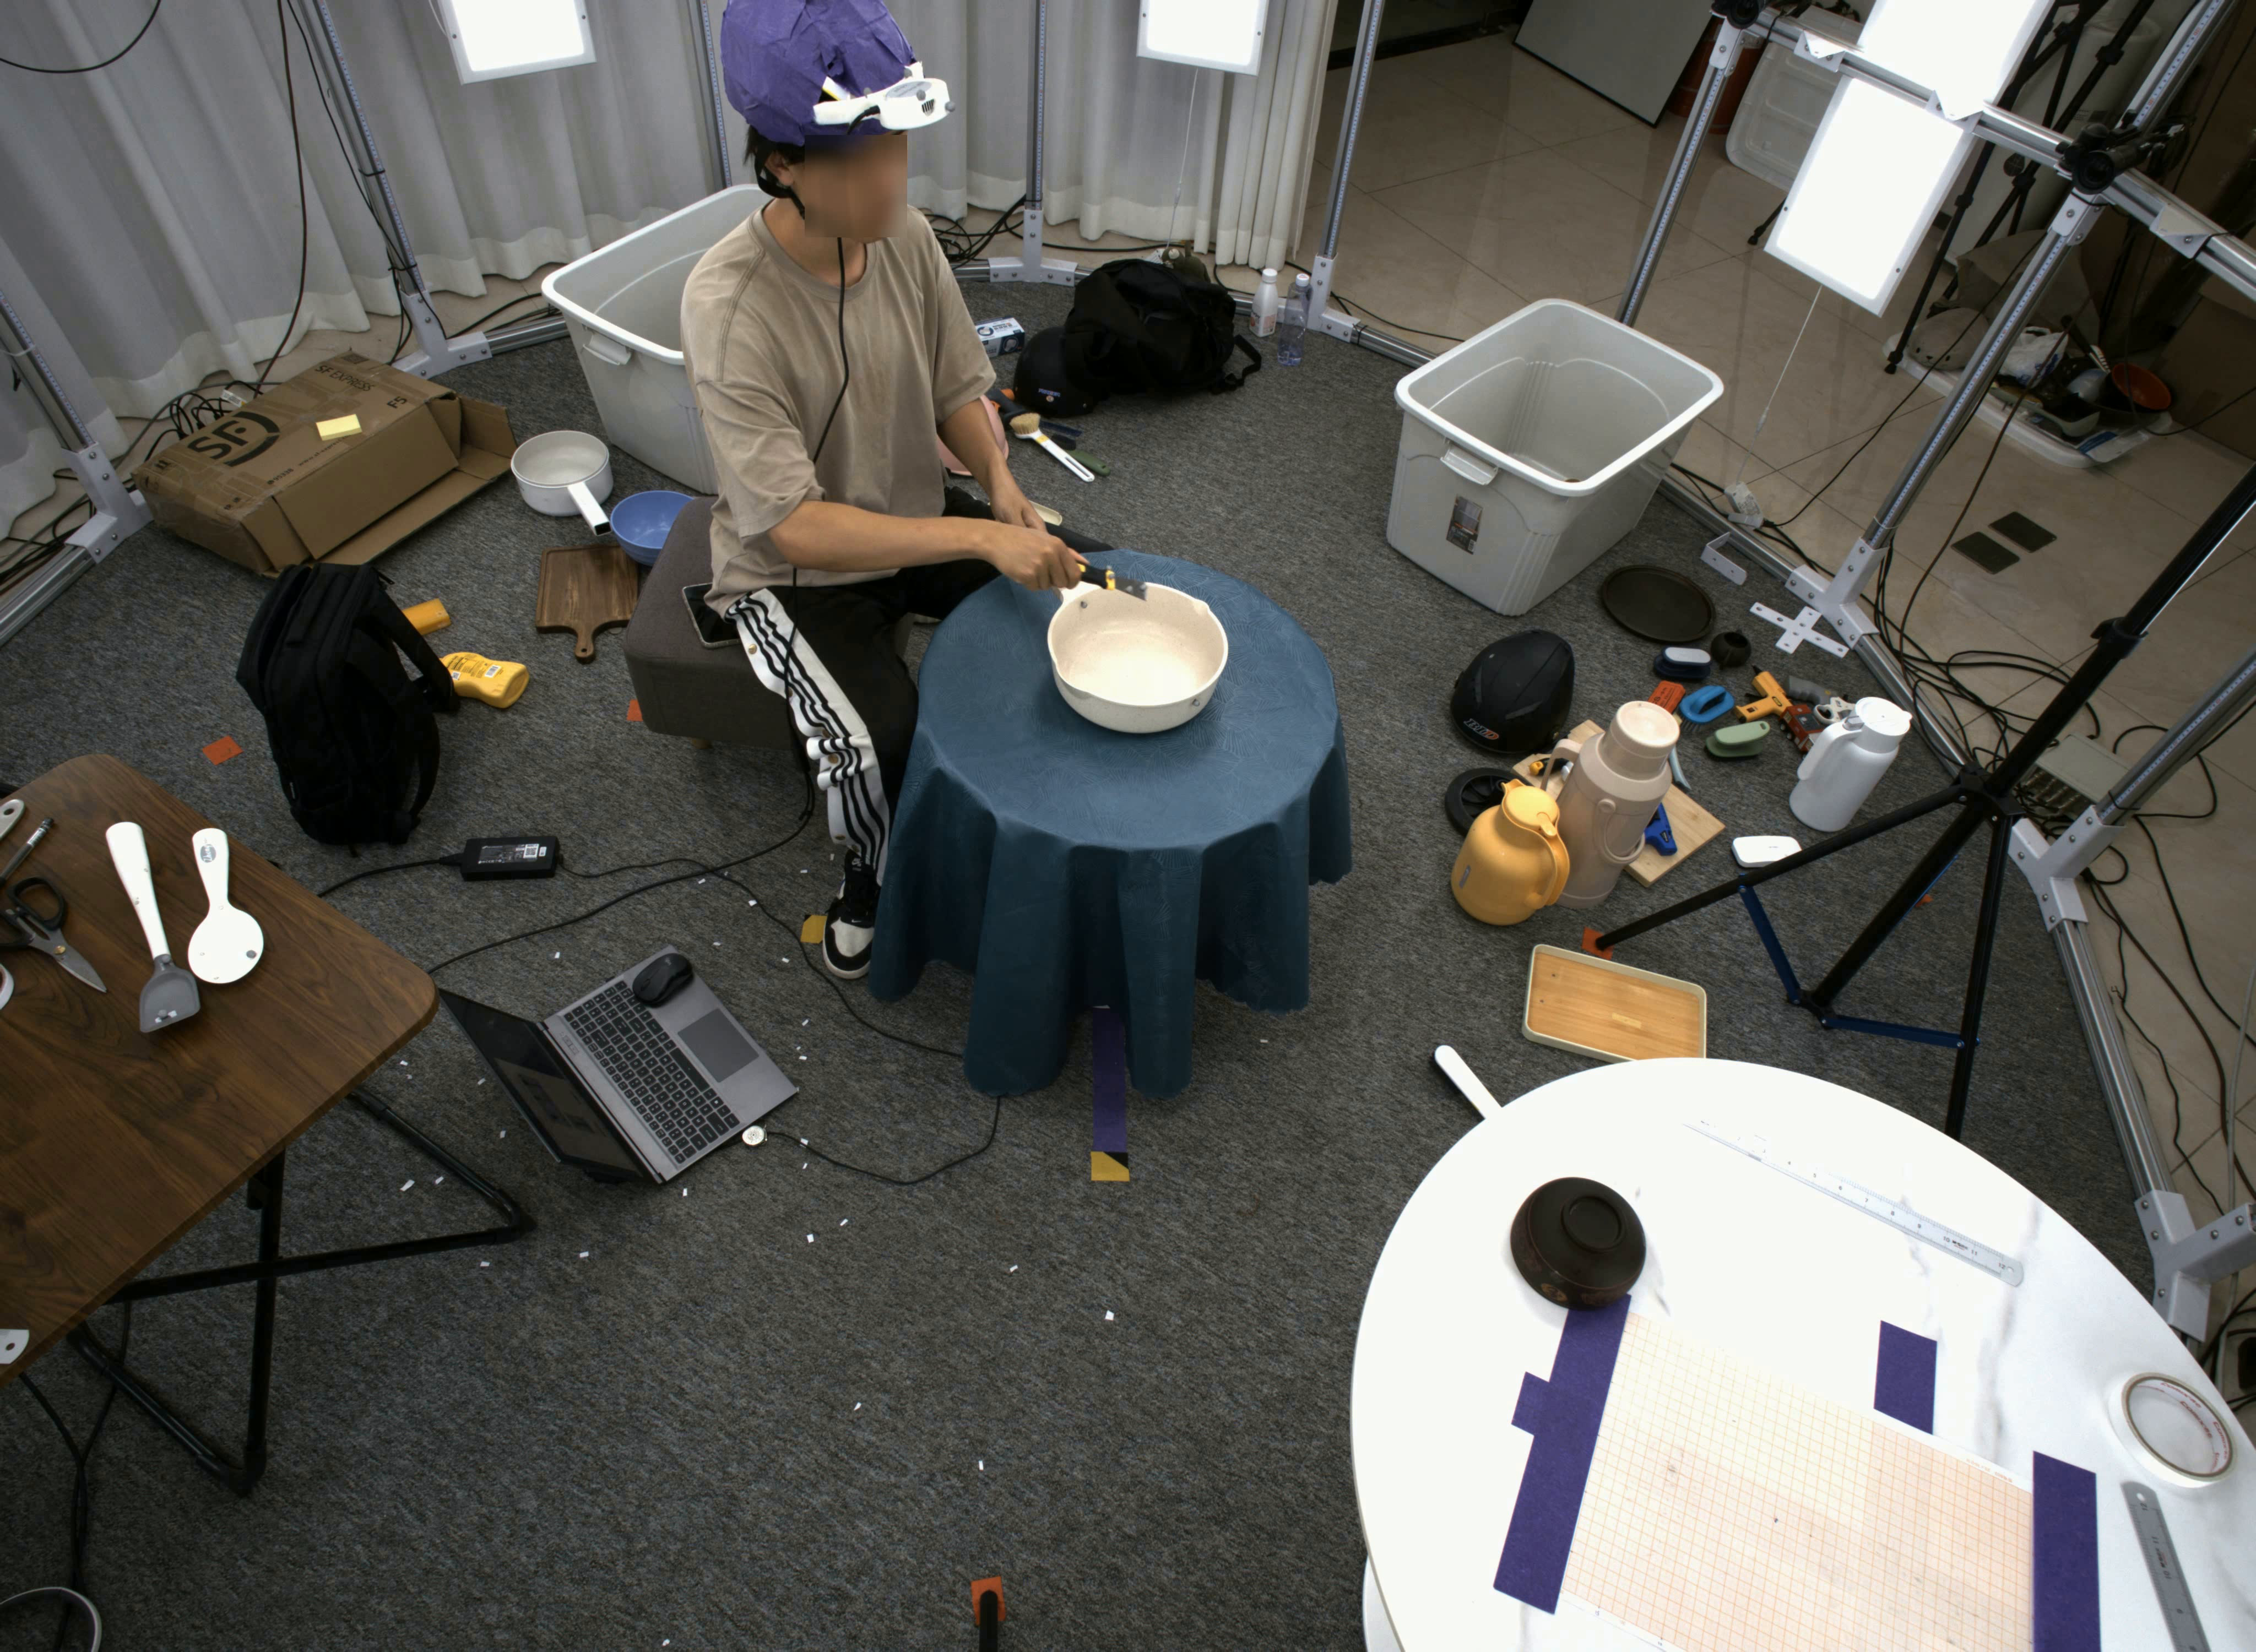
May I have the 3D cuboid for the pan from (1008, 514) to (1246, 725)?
[{"bbox_3d":[-0.024,-0.303,1.855,0.265,0.099,0.442,-34,59,-27],"label":"pan"}]

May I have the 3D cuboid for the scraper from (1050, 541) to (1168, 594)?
[{"bbox_3d":[-0.023,-0.341,1.696,0.170,0.015,0.039,11,60,-23],"label":"scraper"}]
